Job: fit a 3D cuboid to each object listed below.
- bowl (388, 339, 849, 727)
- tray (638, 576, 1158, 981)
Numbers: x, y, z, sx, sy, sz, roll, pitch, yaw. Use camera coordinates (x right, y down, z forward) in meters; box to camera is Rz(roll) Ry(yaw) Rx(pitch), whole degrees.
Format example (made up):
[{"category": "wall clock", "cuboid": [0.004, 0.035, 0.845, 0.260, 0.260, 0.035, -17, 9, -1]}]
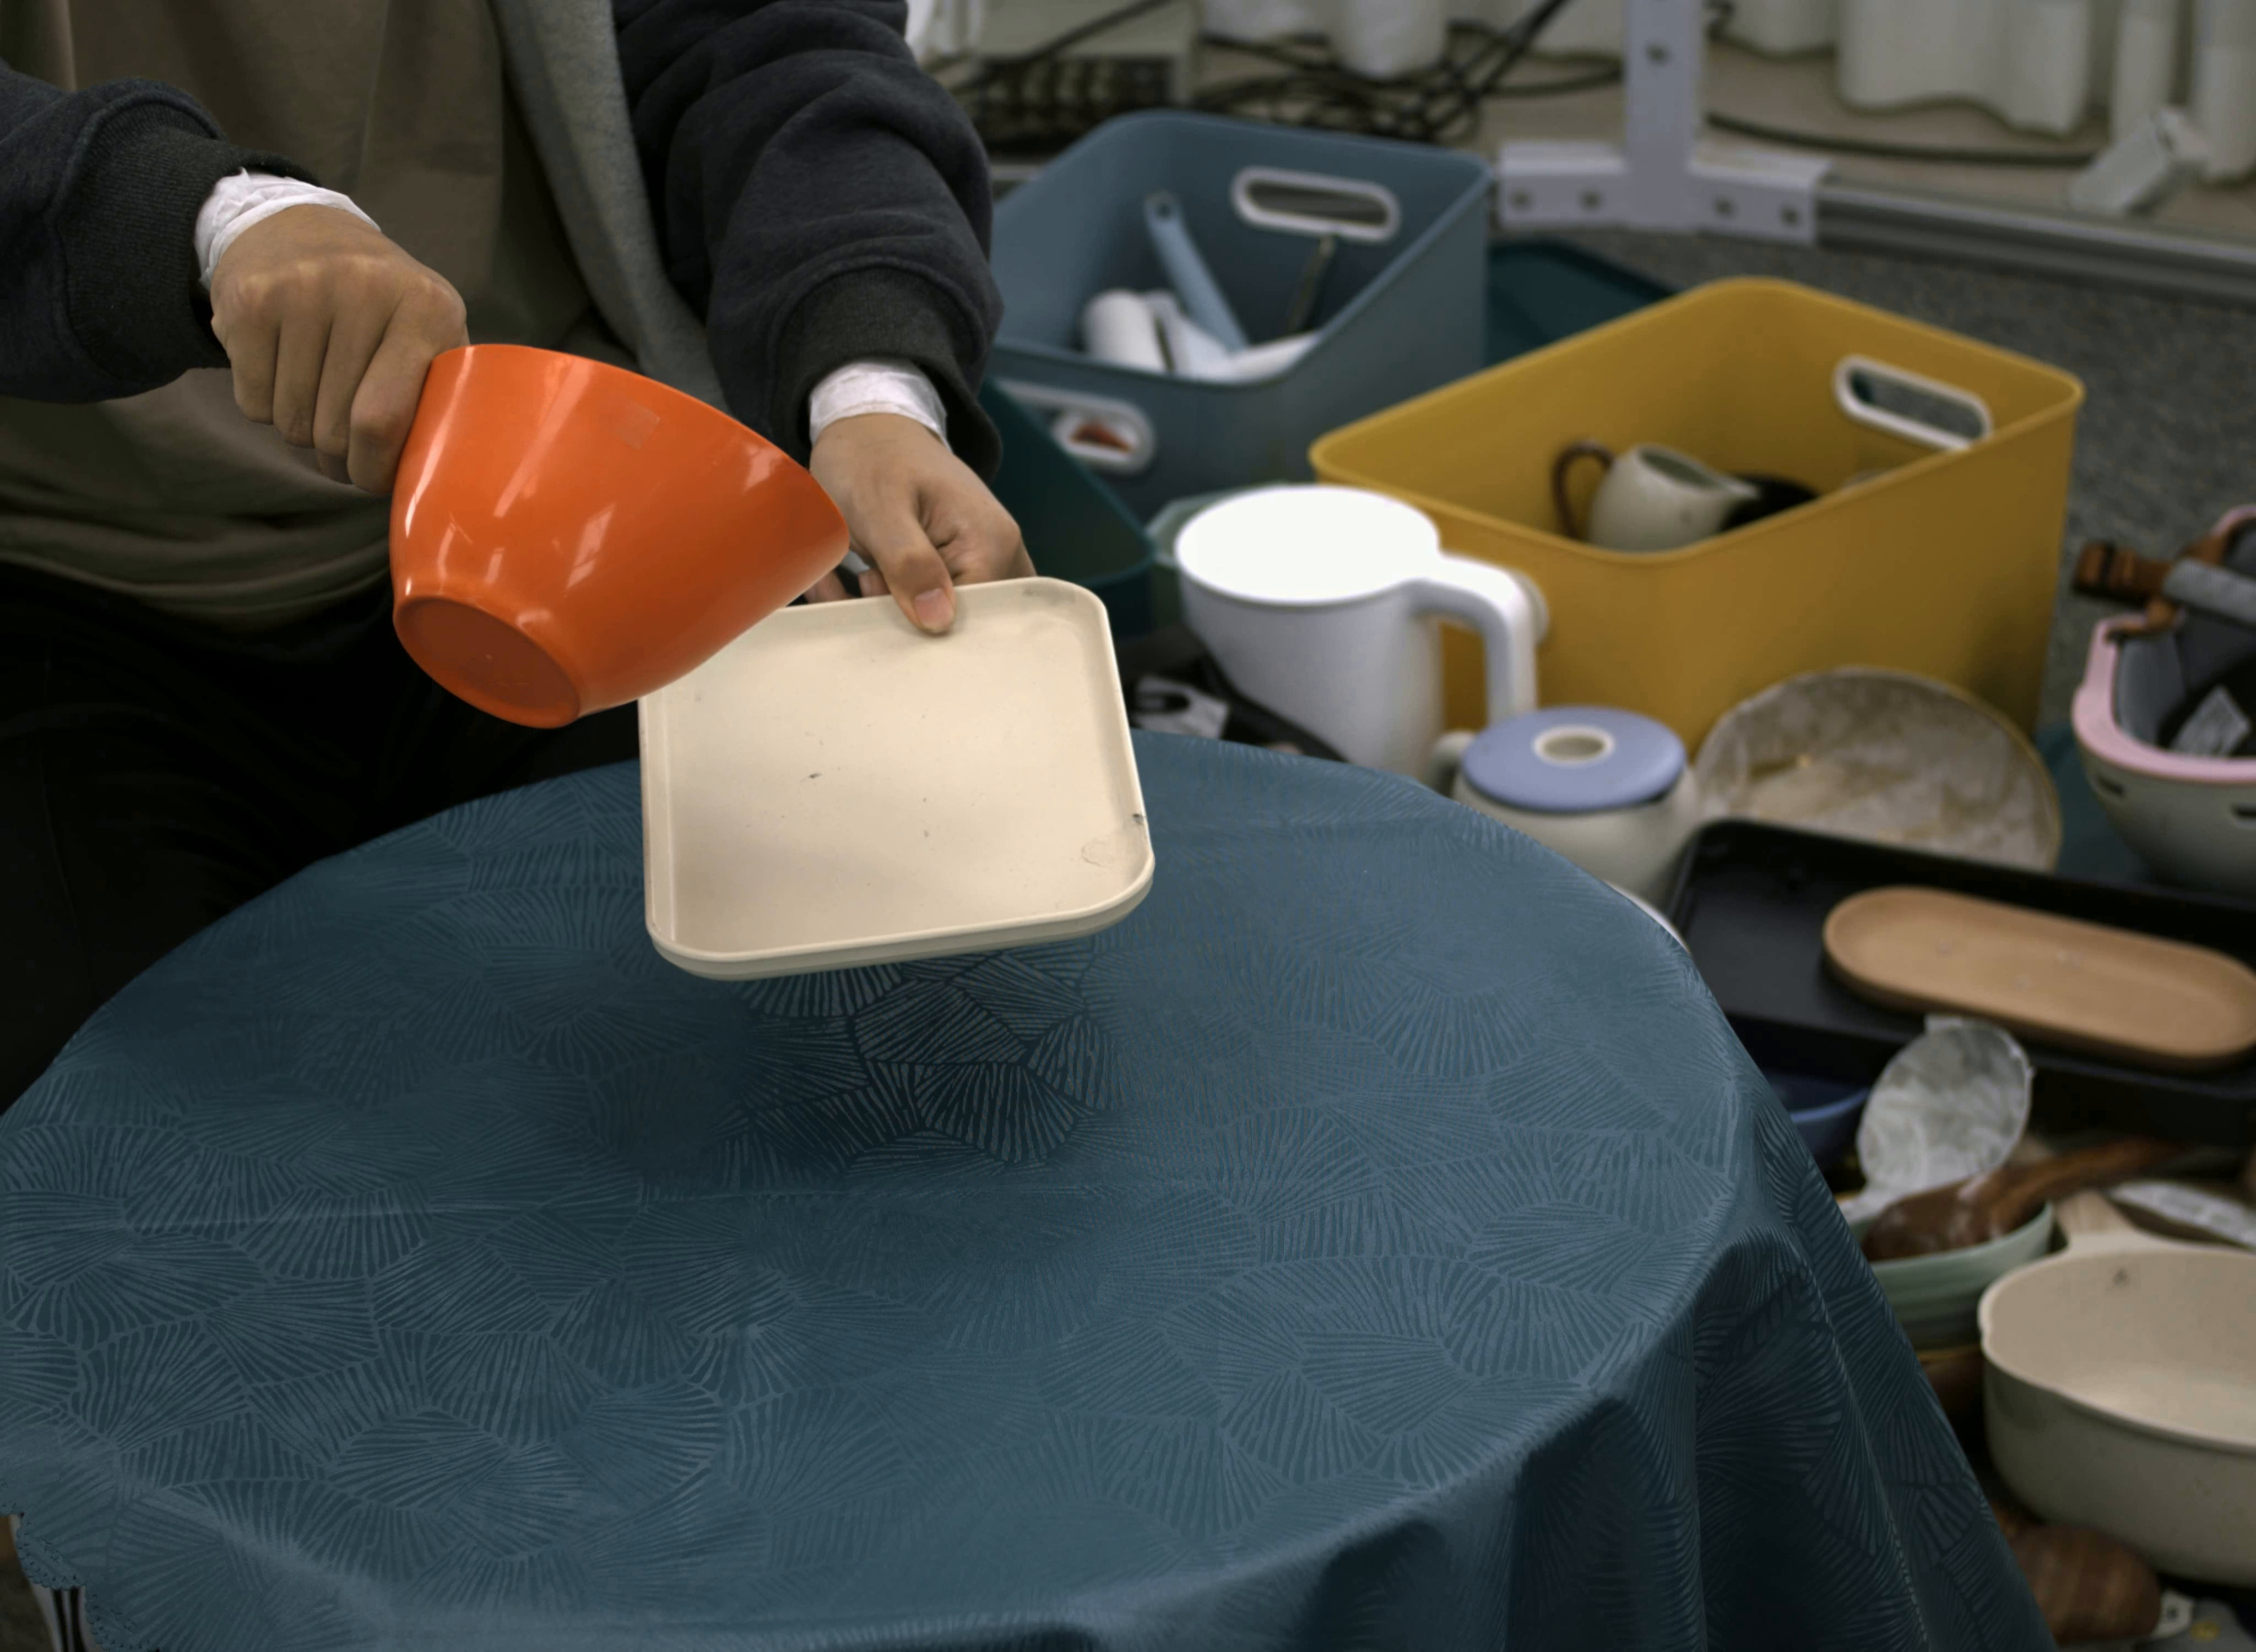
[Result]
[{"category": "bowl", "cuboid": [-0.177, -0.084, 1.811, 0.147, 0.146, 0.106, 13, 58, 28]}, {"category": "tray", "cuboid": [-0.082, -0.018, 1.933, 0.170, 0.017, 0.243, -7, 30, -2]}]
